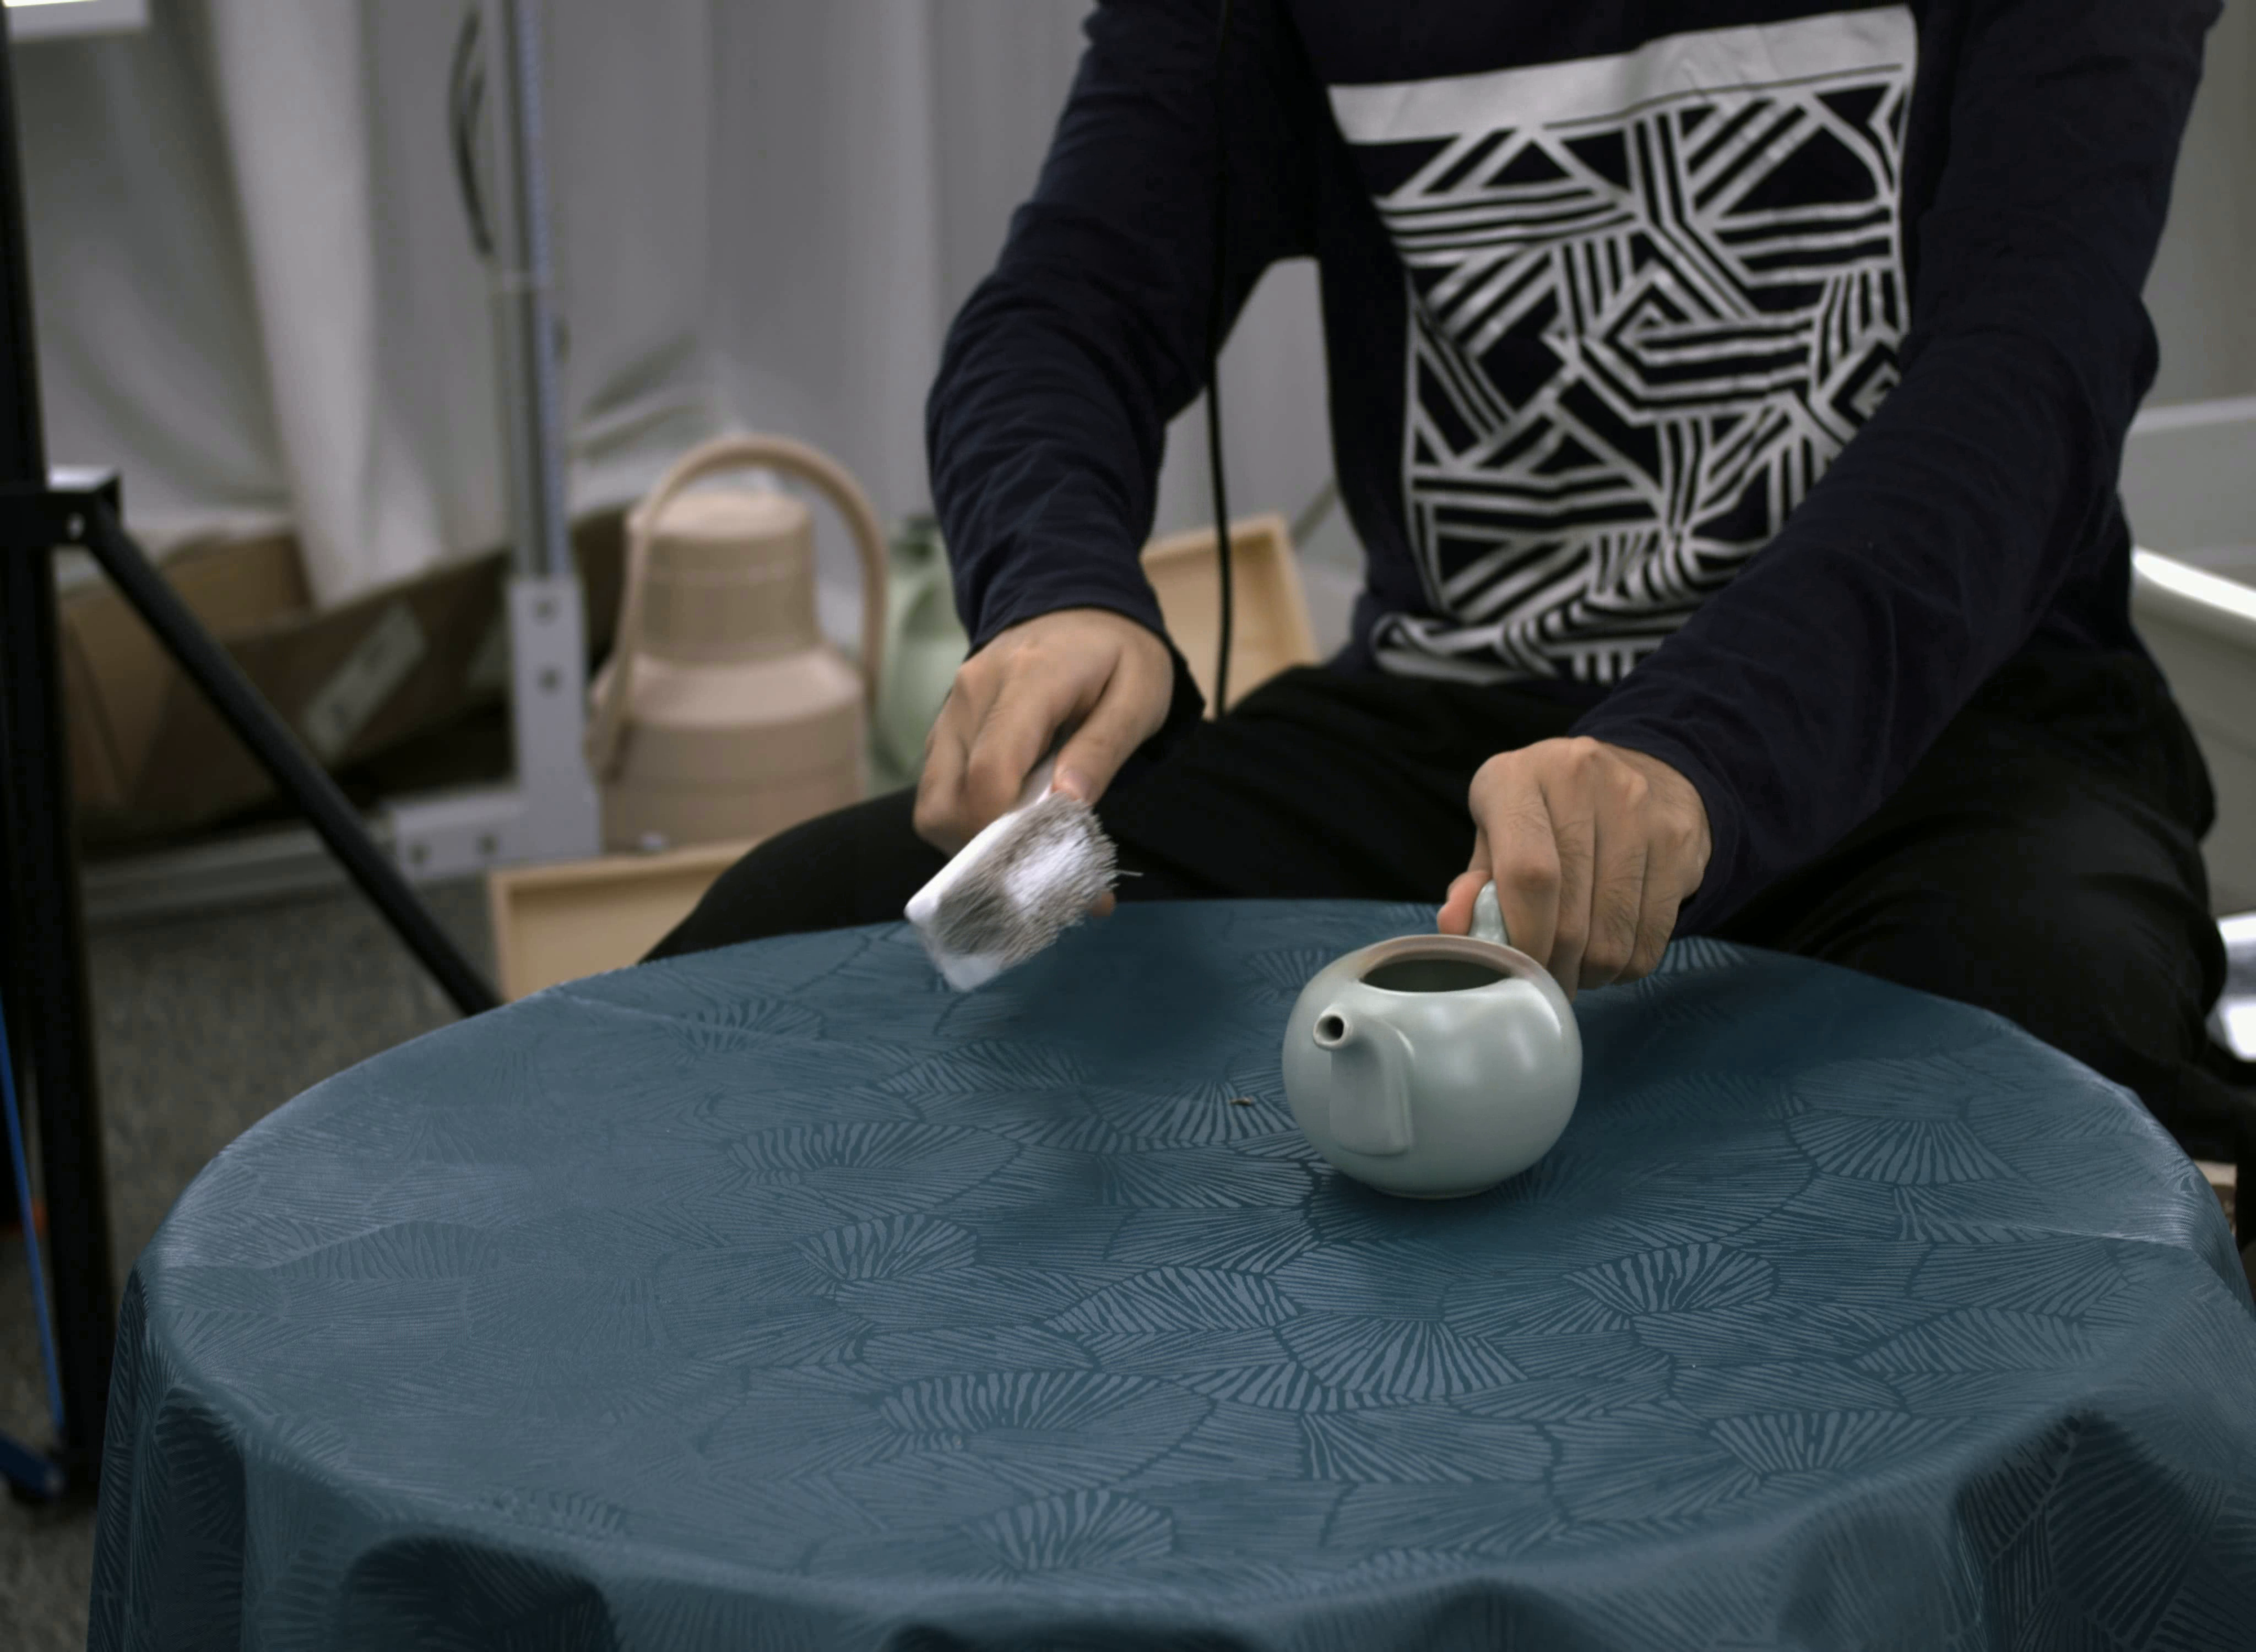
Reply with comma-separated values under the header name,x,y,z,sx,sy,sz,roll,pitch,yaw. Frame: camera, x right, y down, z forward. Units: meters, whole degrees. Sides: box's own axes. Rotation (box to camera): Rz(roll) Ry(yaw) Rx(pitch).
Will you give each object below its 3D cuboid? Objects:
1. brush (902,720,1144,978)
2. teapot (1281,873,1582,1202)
name,x,y,z,sx,sy,sz,roll,pitch,yaw
brush,-0.015,-0.006,1.665,0.050,0.034,0.241,-34,4,20
teapot,0.089,0.069,1.552,0.090,0.074,0.141,7,21,30
